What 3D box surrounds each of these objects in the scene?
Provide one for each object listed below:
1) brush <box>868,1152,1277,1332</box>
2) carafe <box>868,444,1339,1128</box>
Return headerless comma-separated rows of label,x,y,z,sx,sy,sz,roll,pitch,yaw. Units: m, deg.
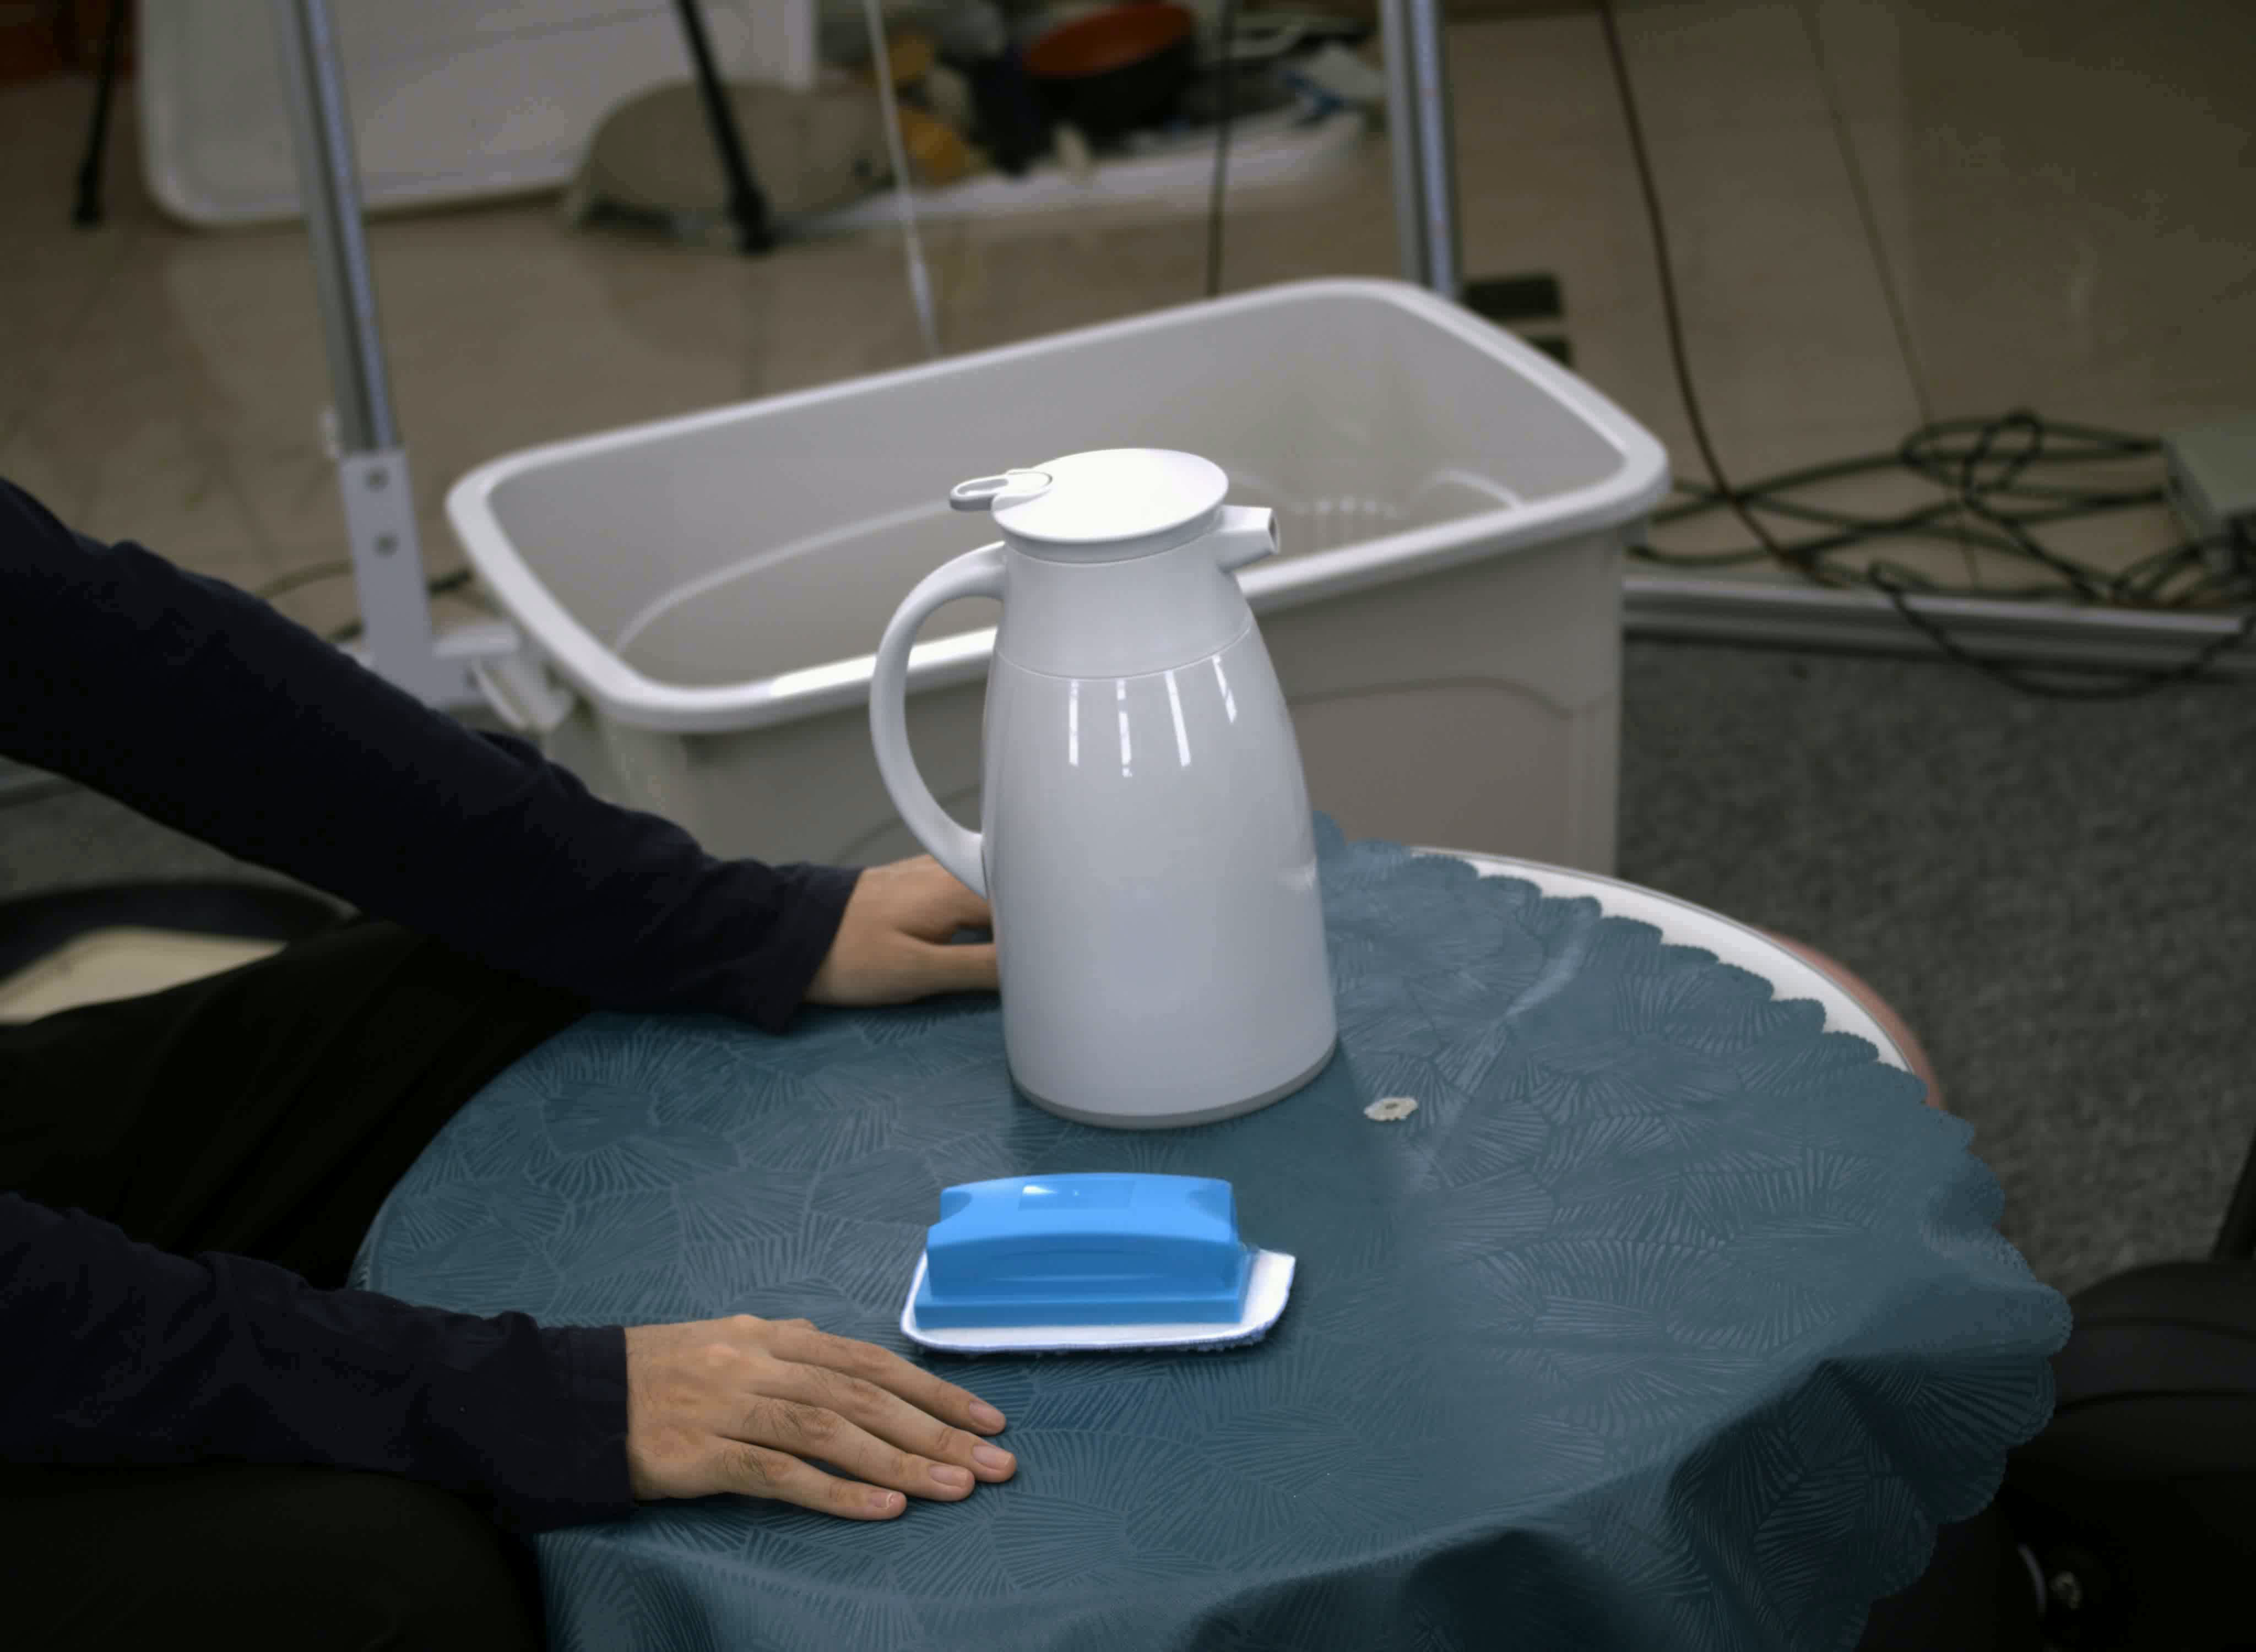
brush,-0.020,0.150,2.056,0.143,0.057,0.083,1,23,11
carafe,-0.014,-0.020,2.195,0.167,0.252,0.130,-4,26,7
